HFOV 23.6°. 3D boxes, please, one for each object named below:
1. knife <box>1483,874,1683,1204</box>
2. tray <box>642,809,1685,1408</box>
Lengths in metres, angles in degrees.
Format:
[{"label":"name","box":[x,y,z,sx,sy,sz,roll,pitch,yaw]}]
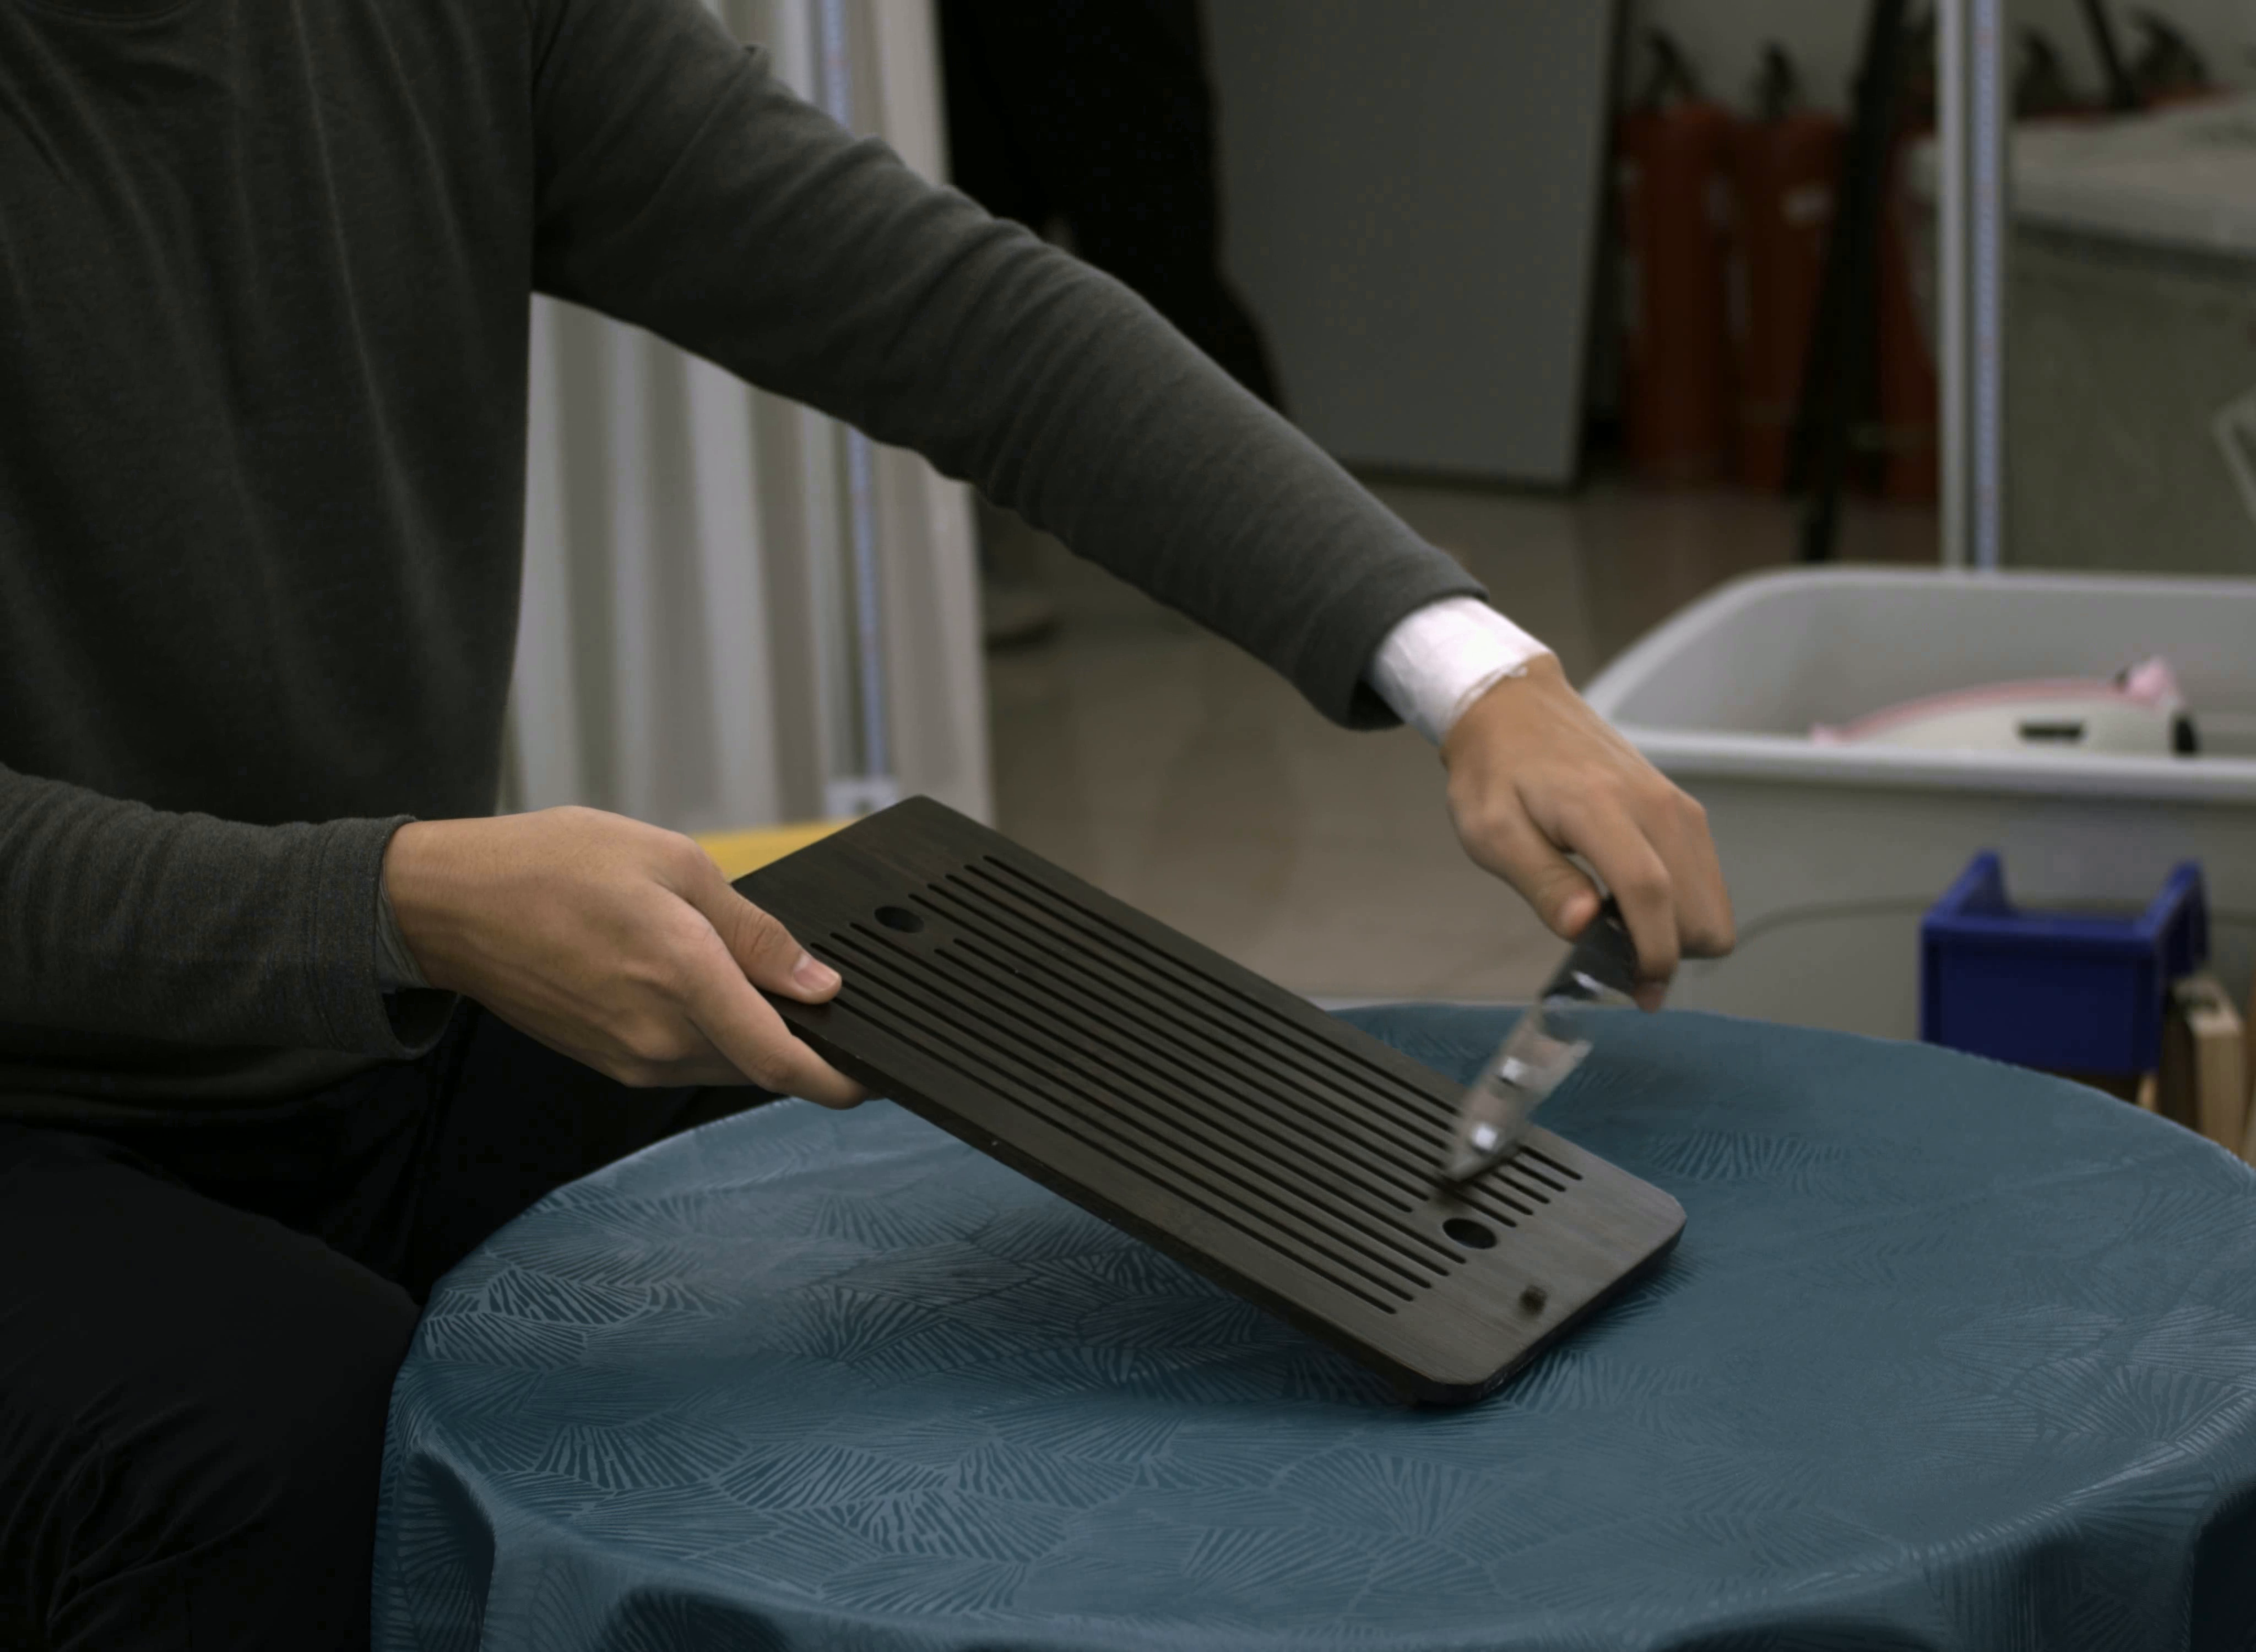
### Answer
[{"label":"knife","box":[0.145,0.067,1.742,0.024,0.016,0.236,37,30,1]},{"label":"tray","box":[0.011,0.084,1.665,0.307,0.019,0.167,28,27,23]}]
